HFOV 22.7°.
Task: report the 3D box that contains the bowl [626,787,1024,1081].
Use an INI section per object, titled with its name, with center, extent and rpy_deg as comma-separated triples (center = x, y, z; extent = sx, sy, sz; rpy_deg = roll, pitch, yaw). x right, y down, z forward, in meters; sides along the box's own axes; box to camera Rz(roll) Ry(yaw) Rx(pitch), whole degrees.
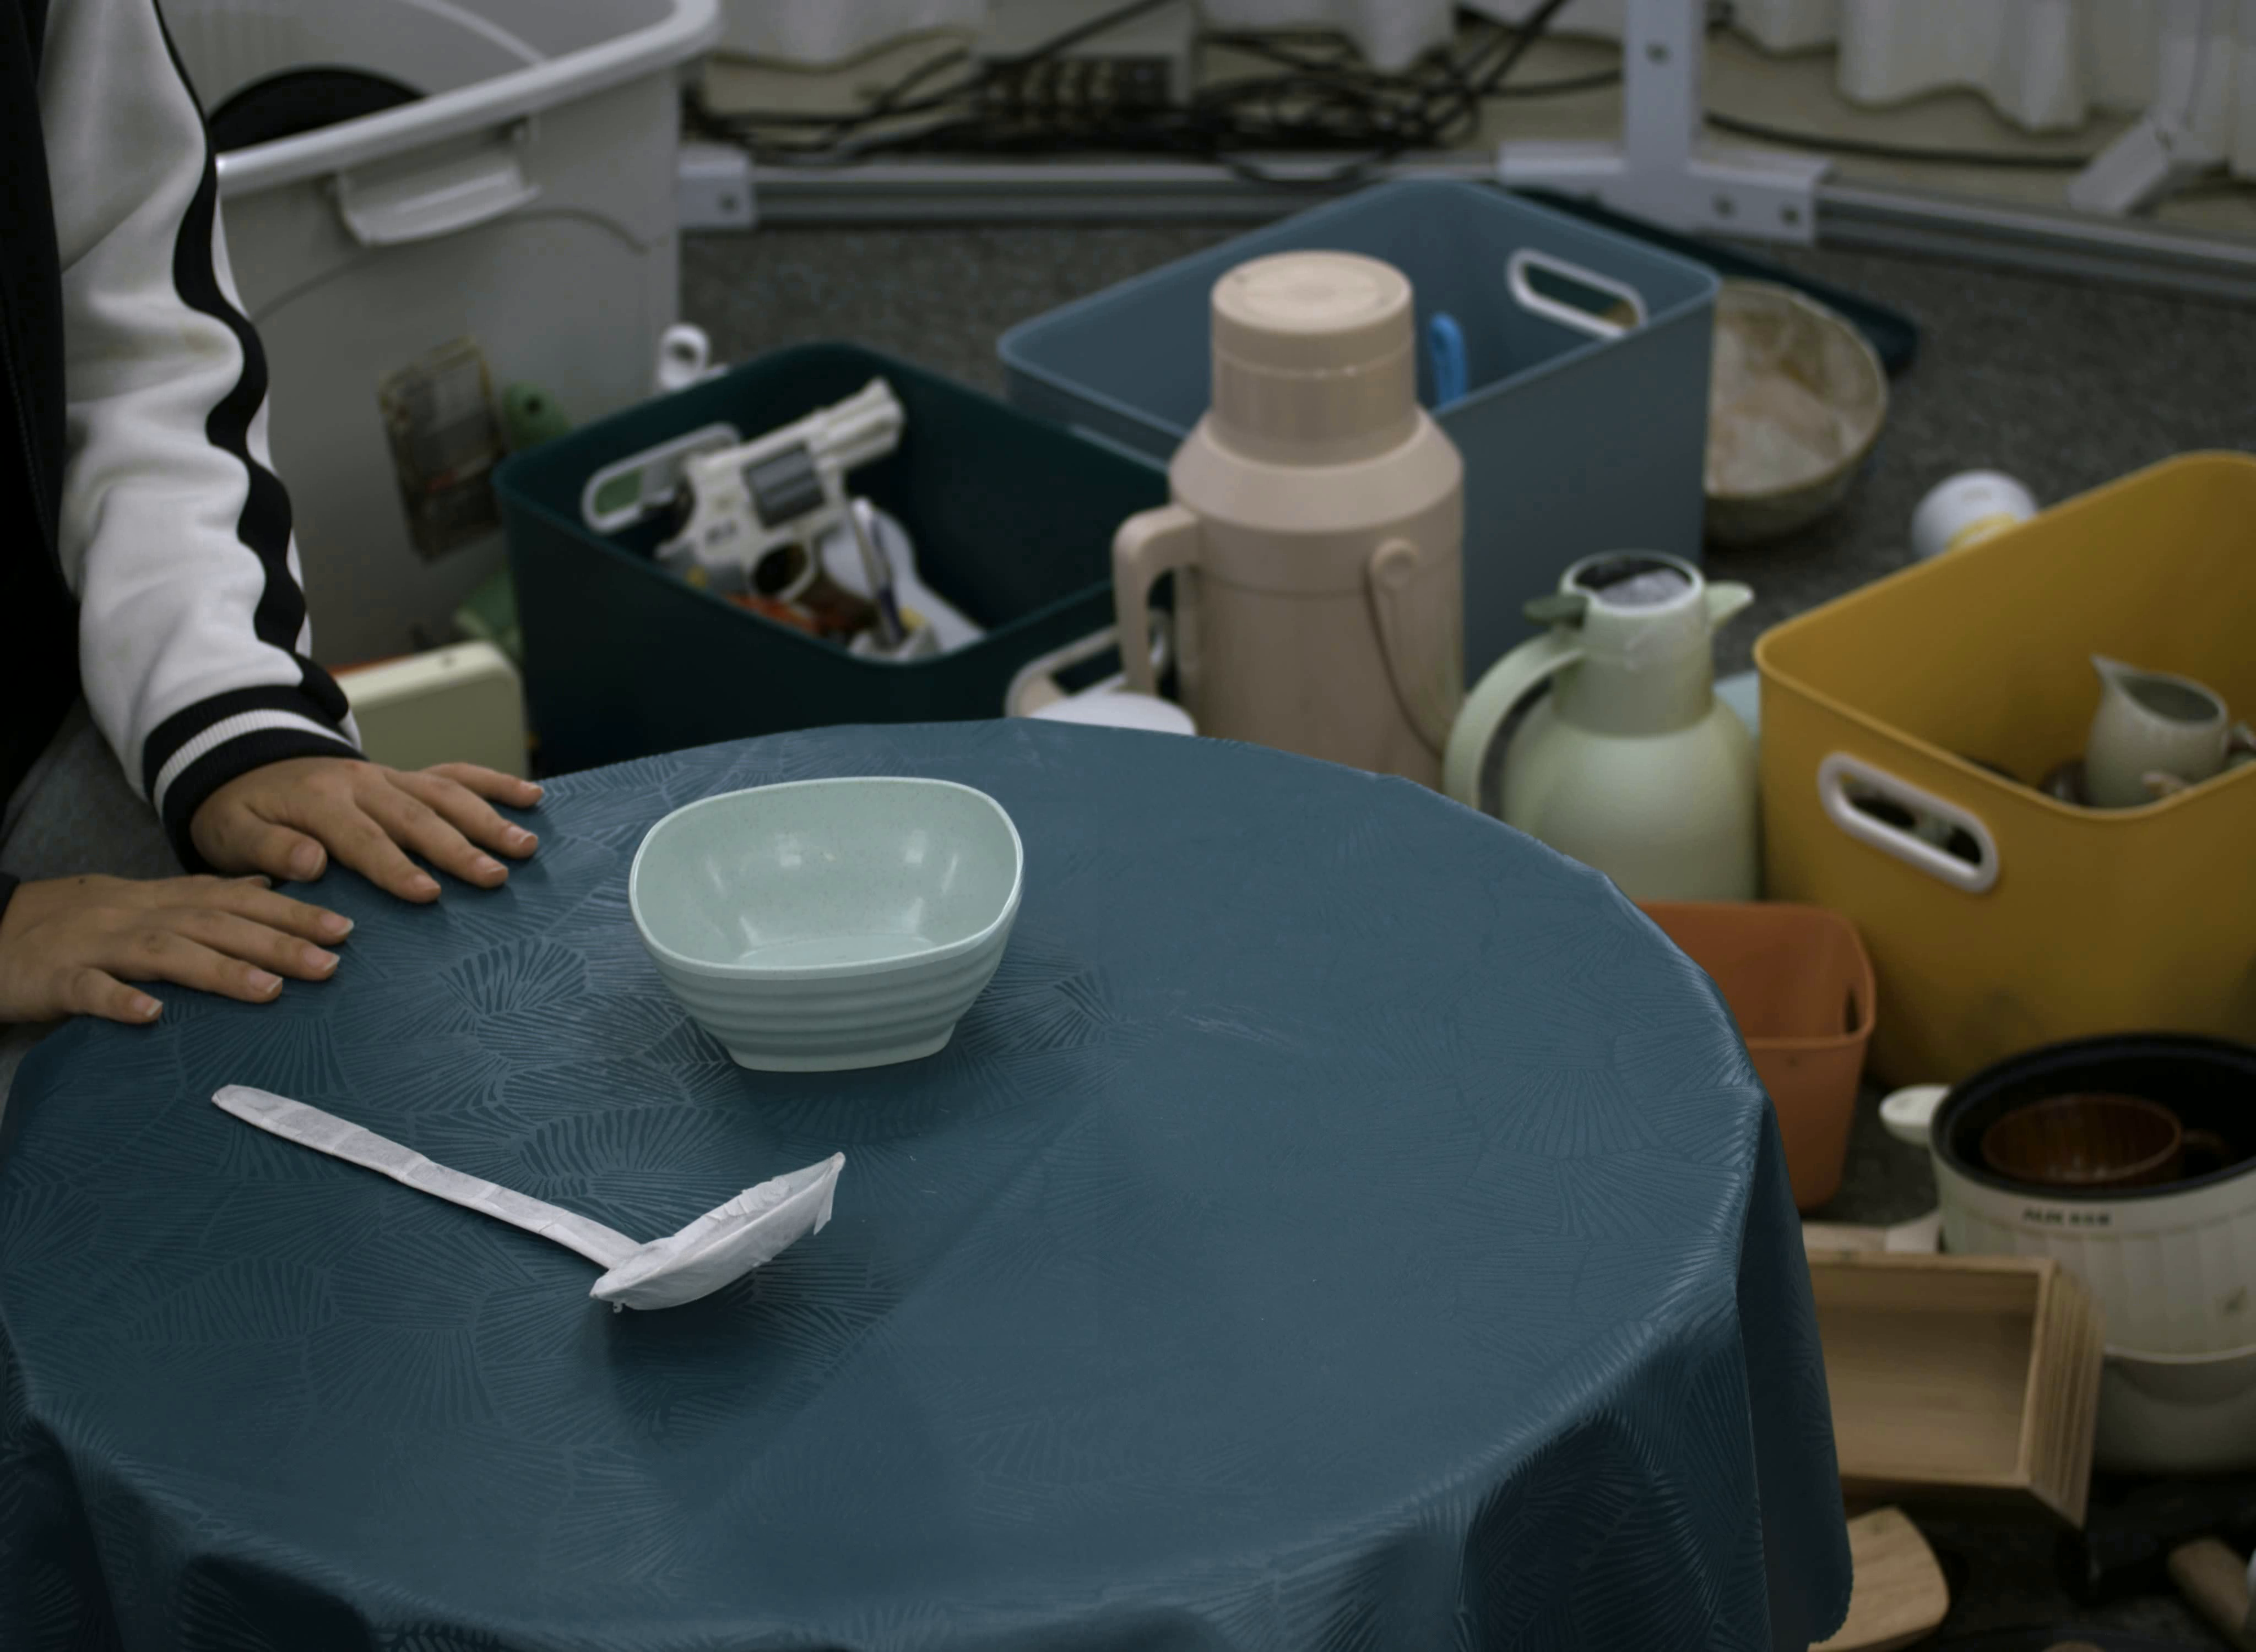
[bowl]
center = -0.104, 0.043, 1.967
extent = 0.151, 0.058, 0.154
rpy_deg = -2, 27, 2

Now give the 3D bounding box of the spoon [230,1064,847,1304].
[spoon]
center = -0.204, 0.100, 1.862
extent = 0.276, 0.059, 0.102
rpy_deg = 20, 31, 37
